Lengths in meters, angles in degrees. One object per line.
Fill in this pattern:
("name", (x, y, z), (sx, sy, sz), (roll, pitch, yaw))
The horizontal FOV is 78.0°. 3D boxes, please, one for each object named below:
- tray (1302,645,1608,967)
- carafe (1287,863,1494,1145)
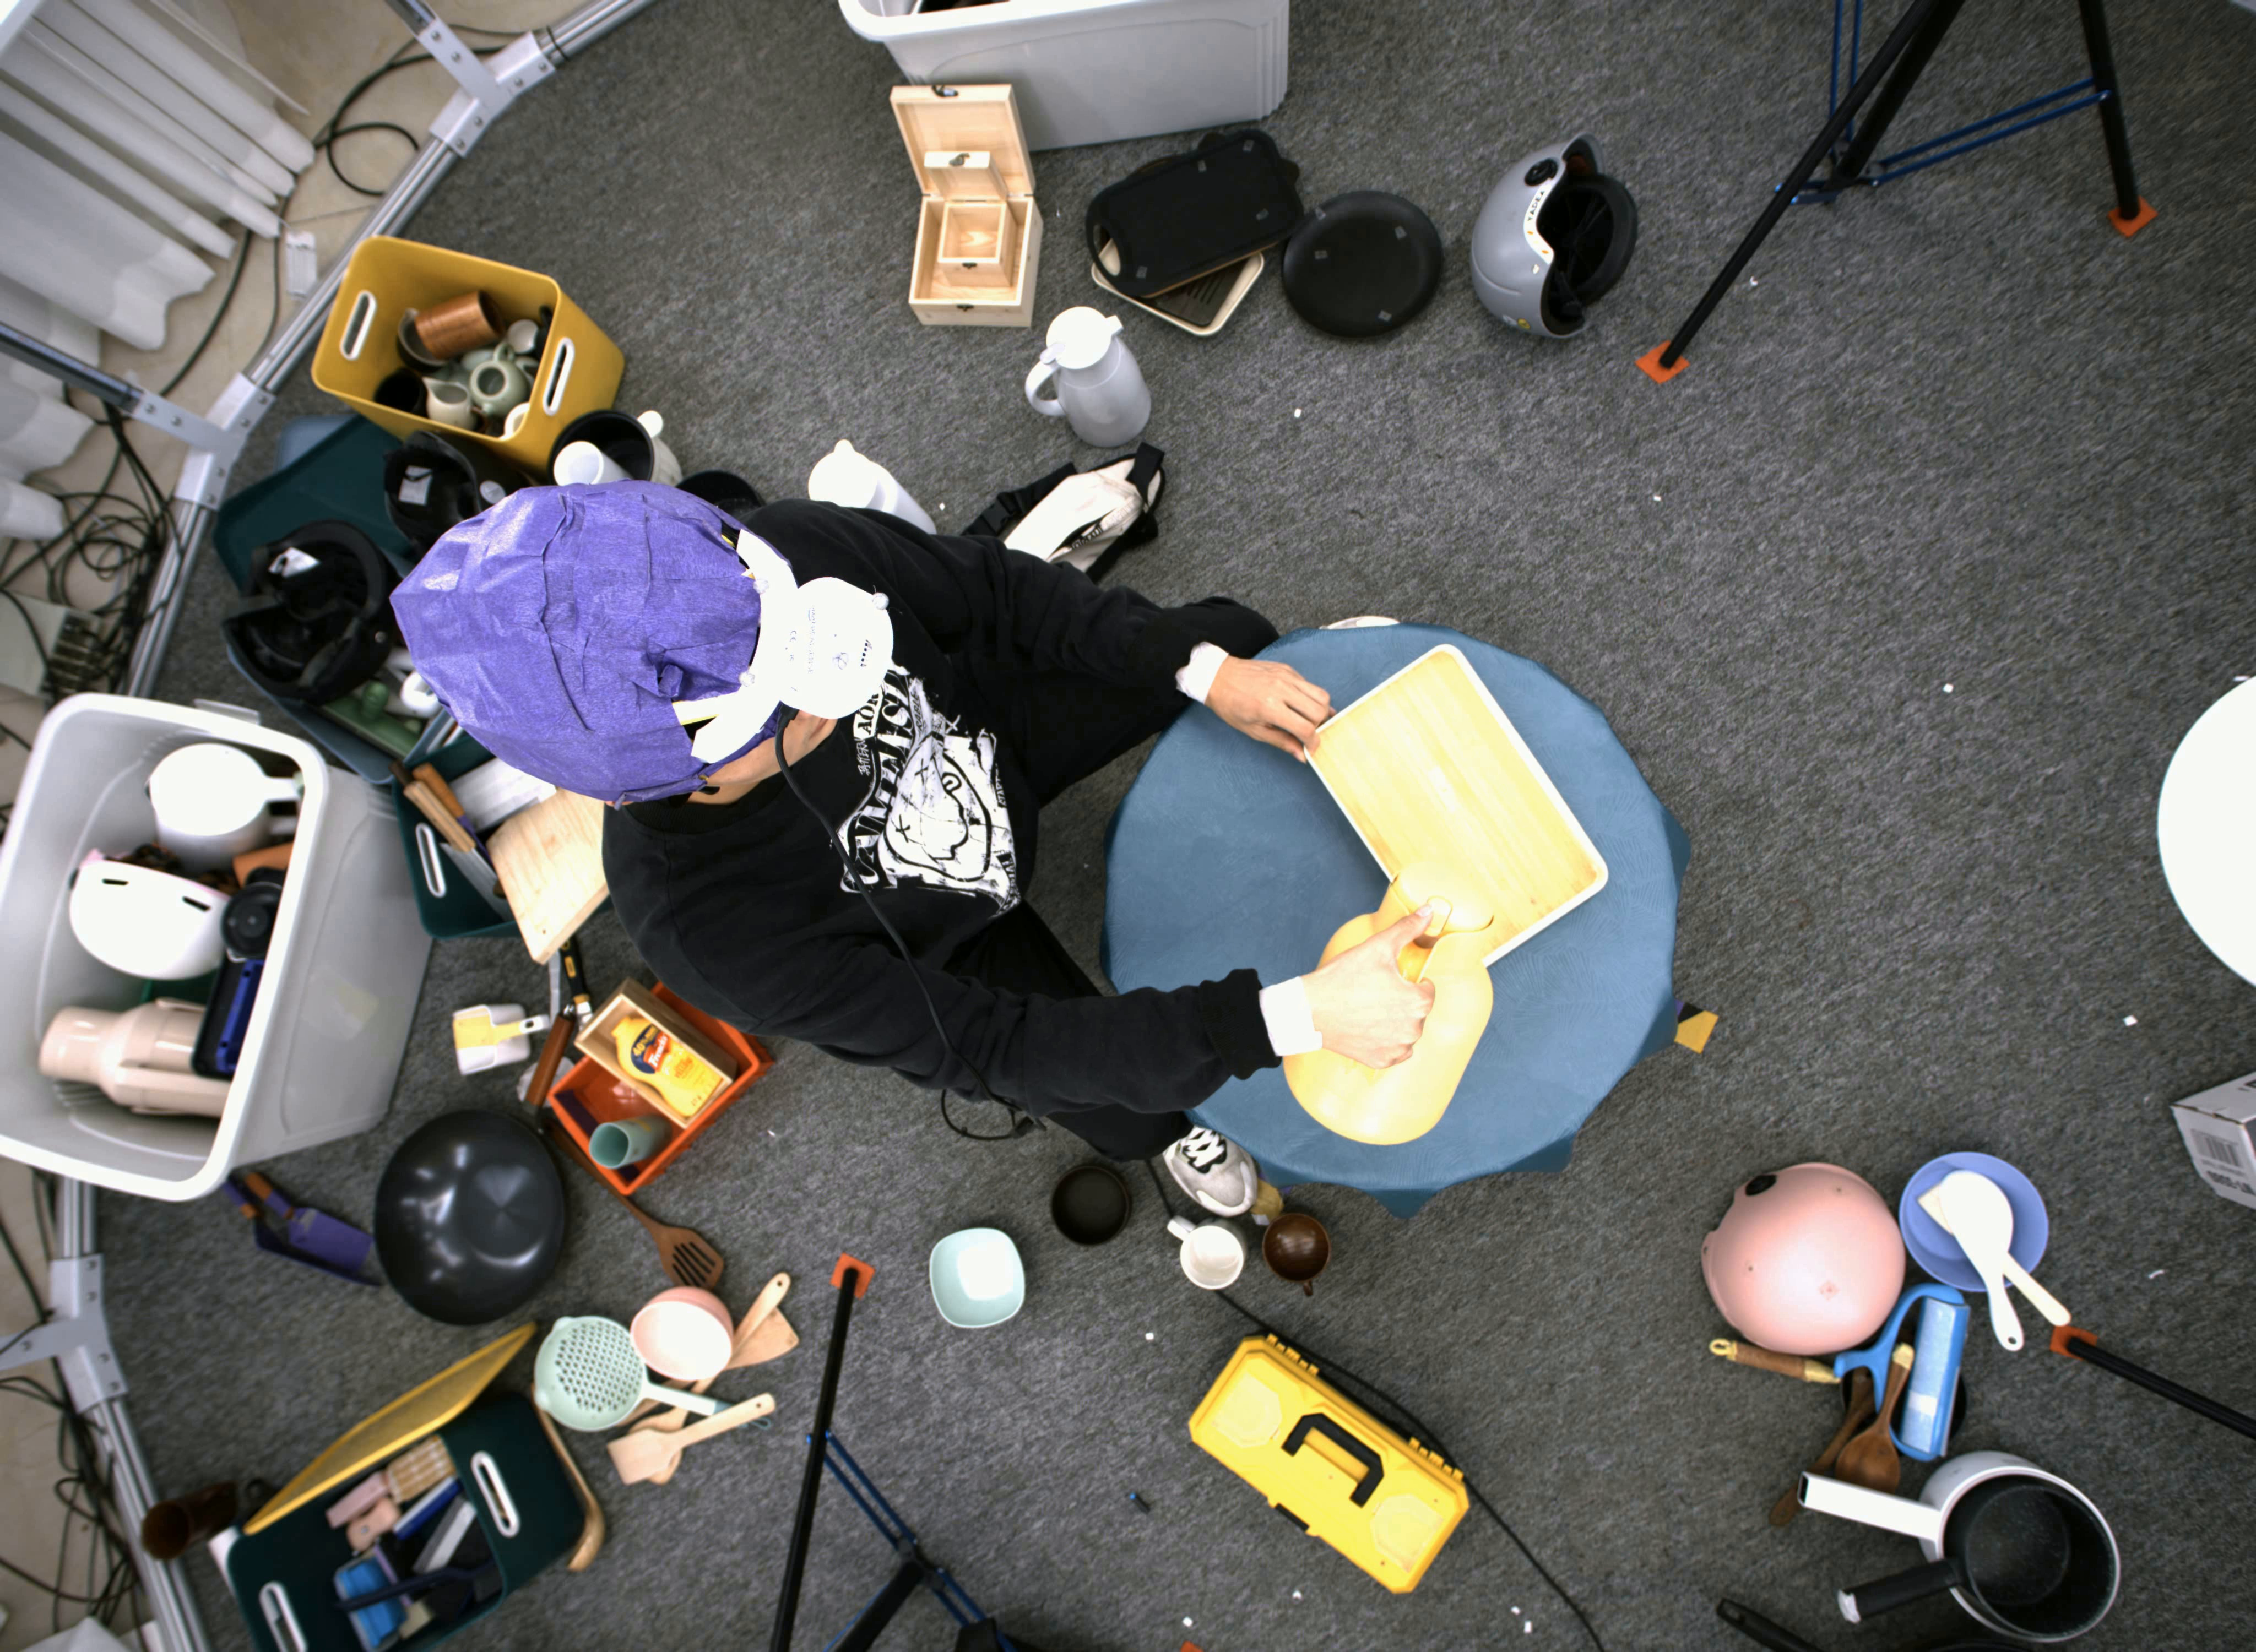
("tray", (0.334, -0.017, 1.411), (0.192, 0.027, 0.300), (-34, 92, 6))
("carafe", (0.241, 0.165, 1.259), (0.163, 0.198, 0.267), (25, 125, 18))
